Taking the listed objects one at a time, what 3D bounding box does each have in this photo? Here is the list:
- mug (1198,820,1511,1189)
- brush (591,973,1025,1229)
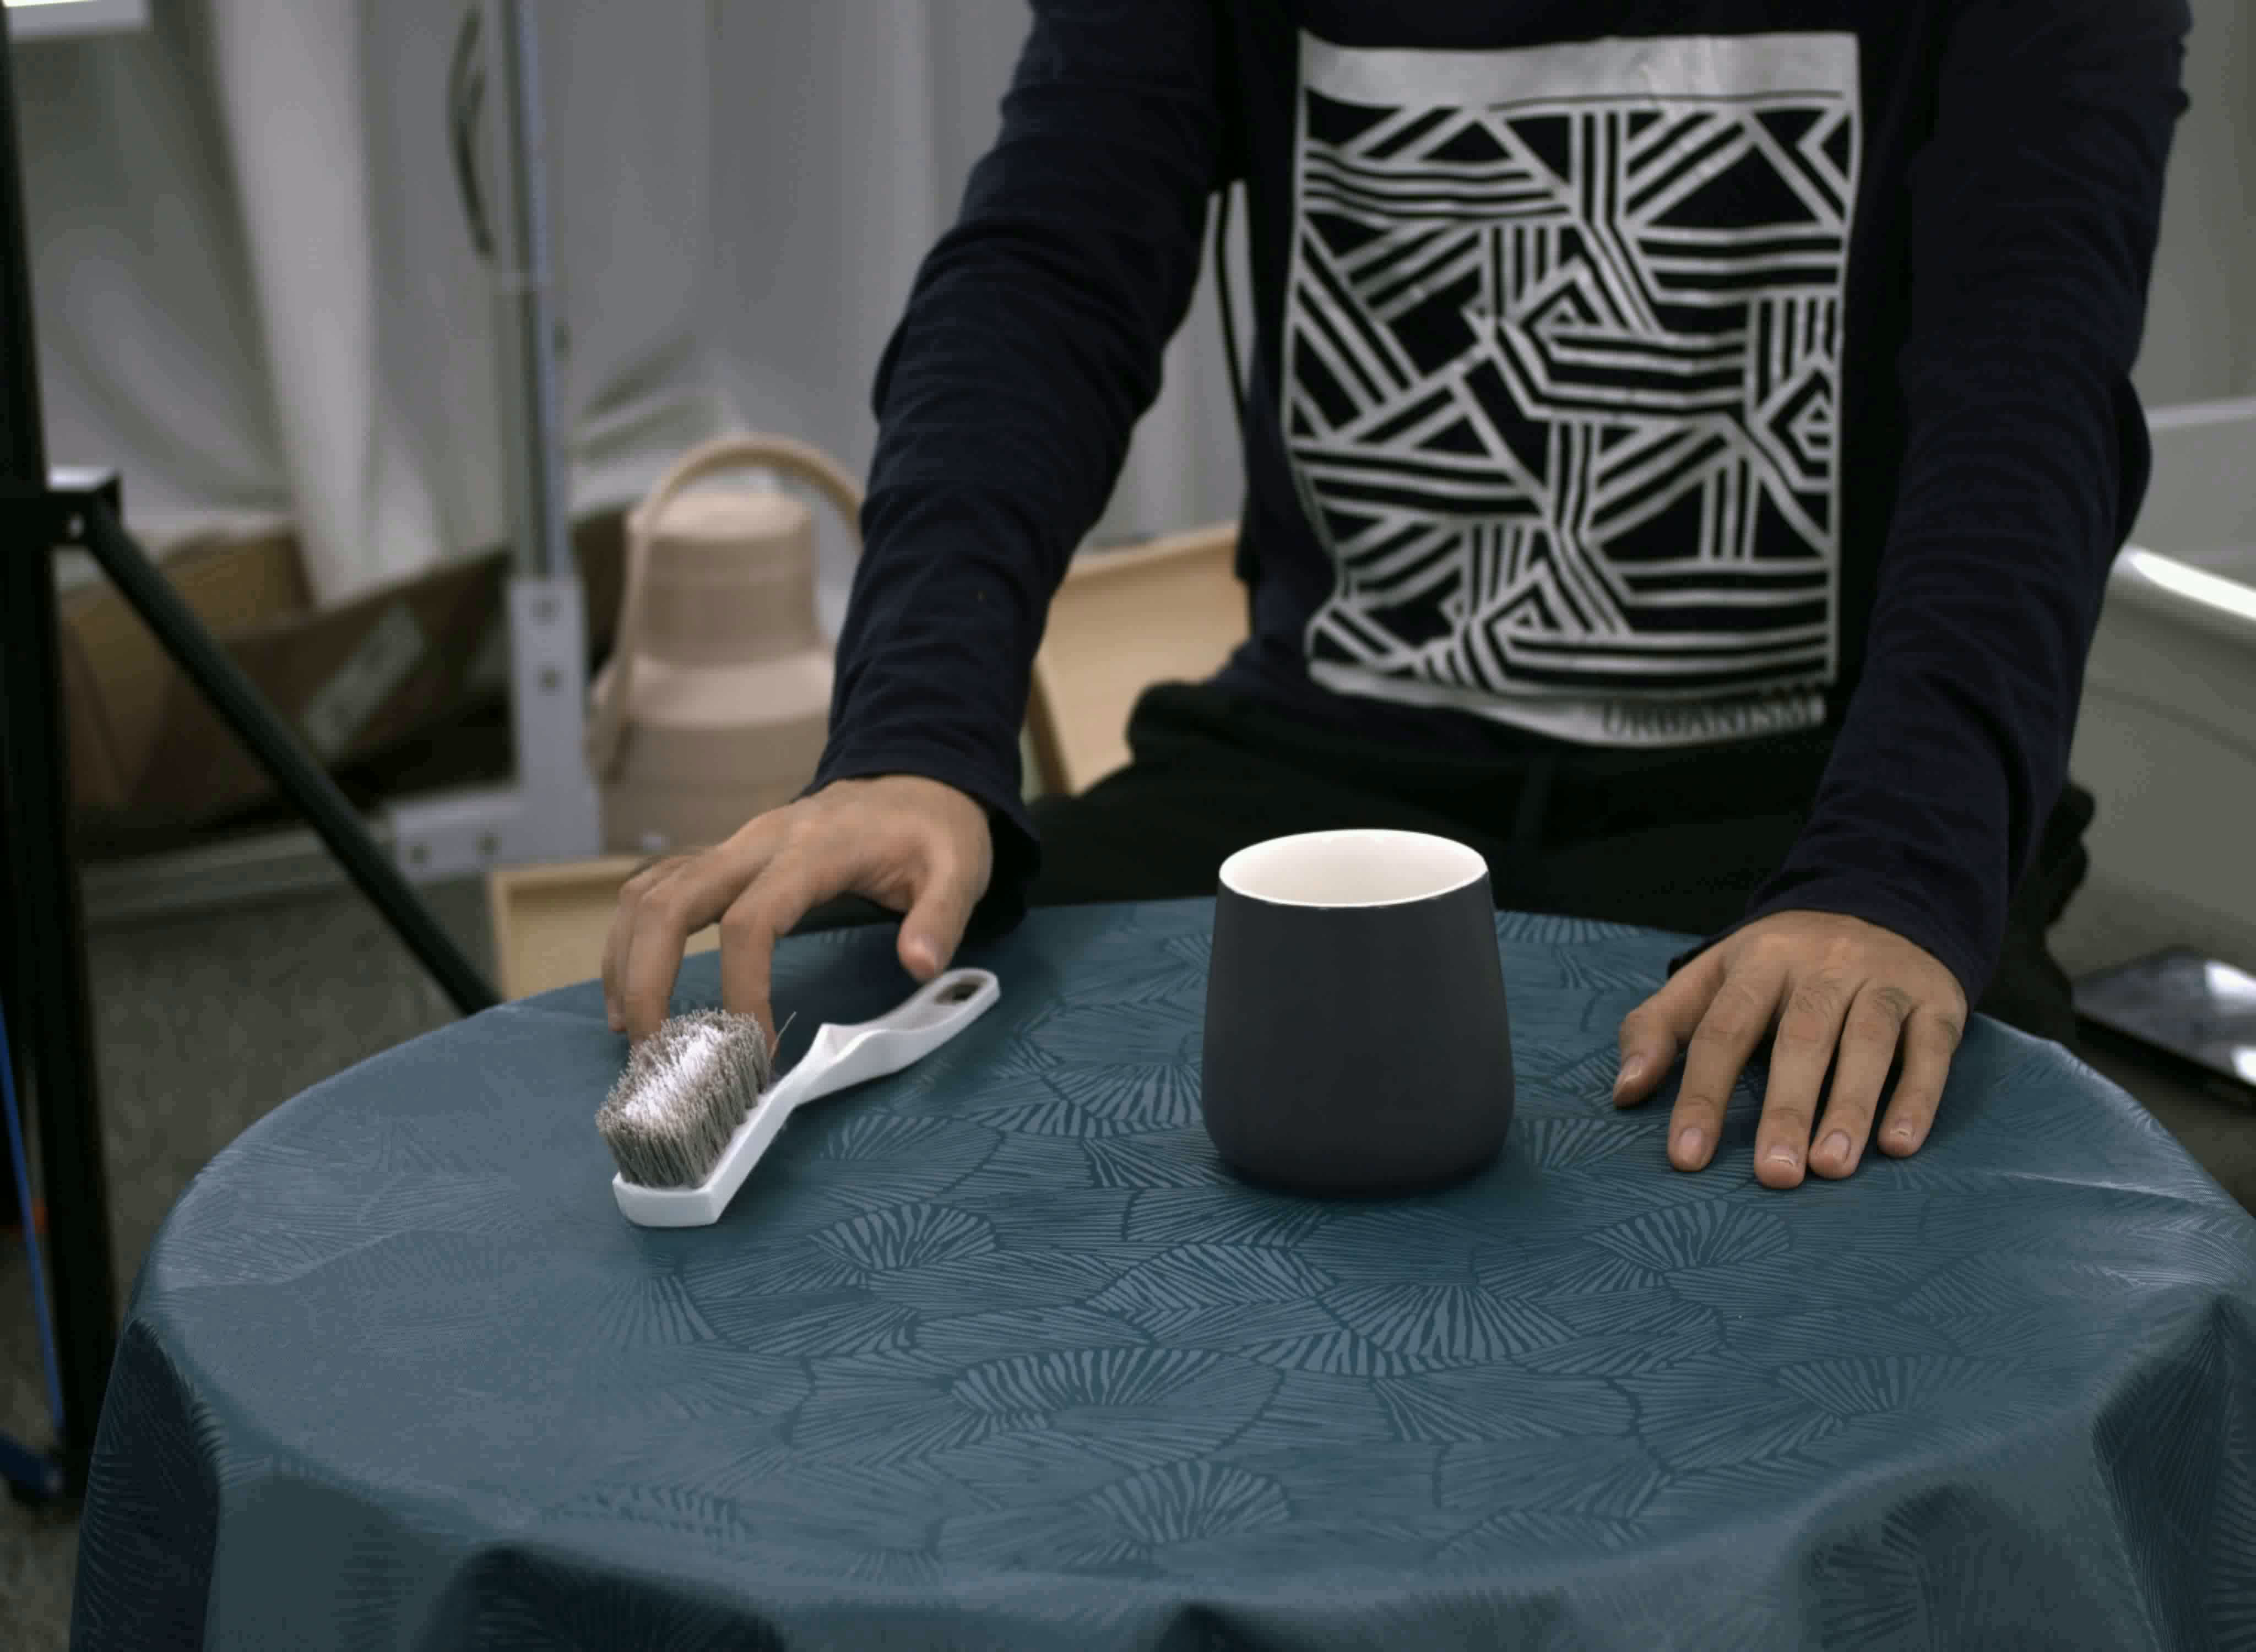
[{"bbox_3d":[0.075,0.049,1.584,0.095,0.090,0.121,9,20,29],"label":"mug"},{"bbox_3d":[-0.093,0.065,1.640,0.035,0.050,0.240,1,16,26],"label":"brush"}]
